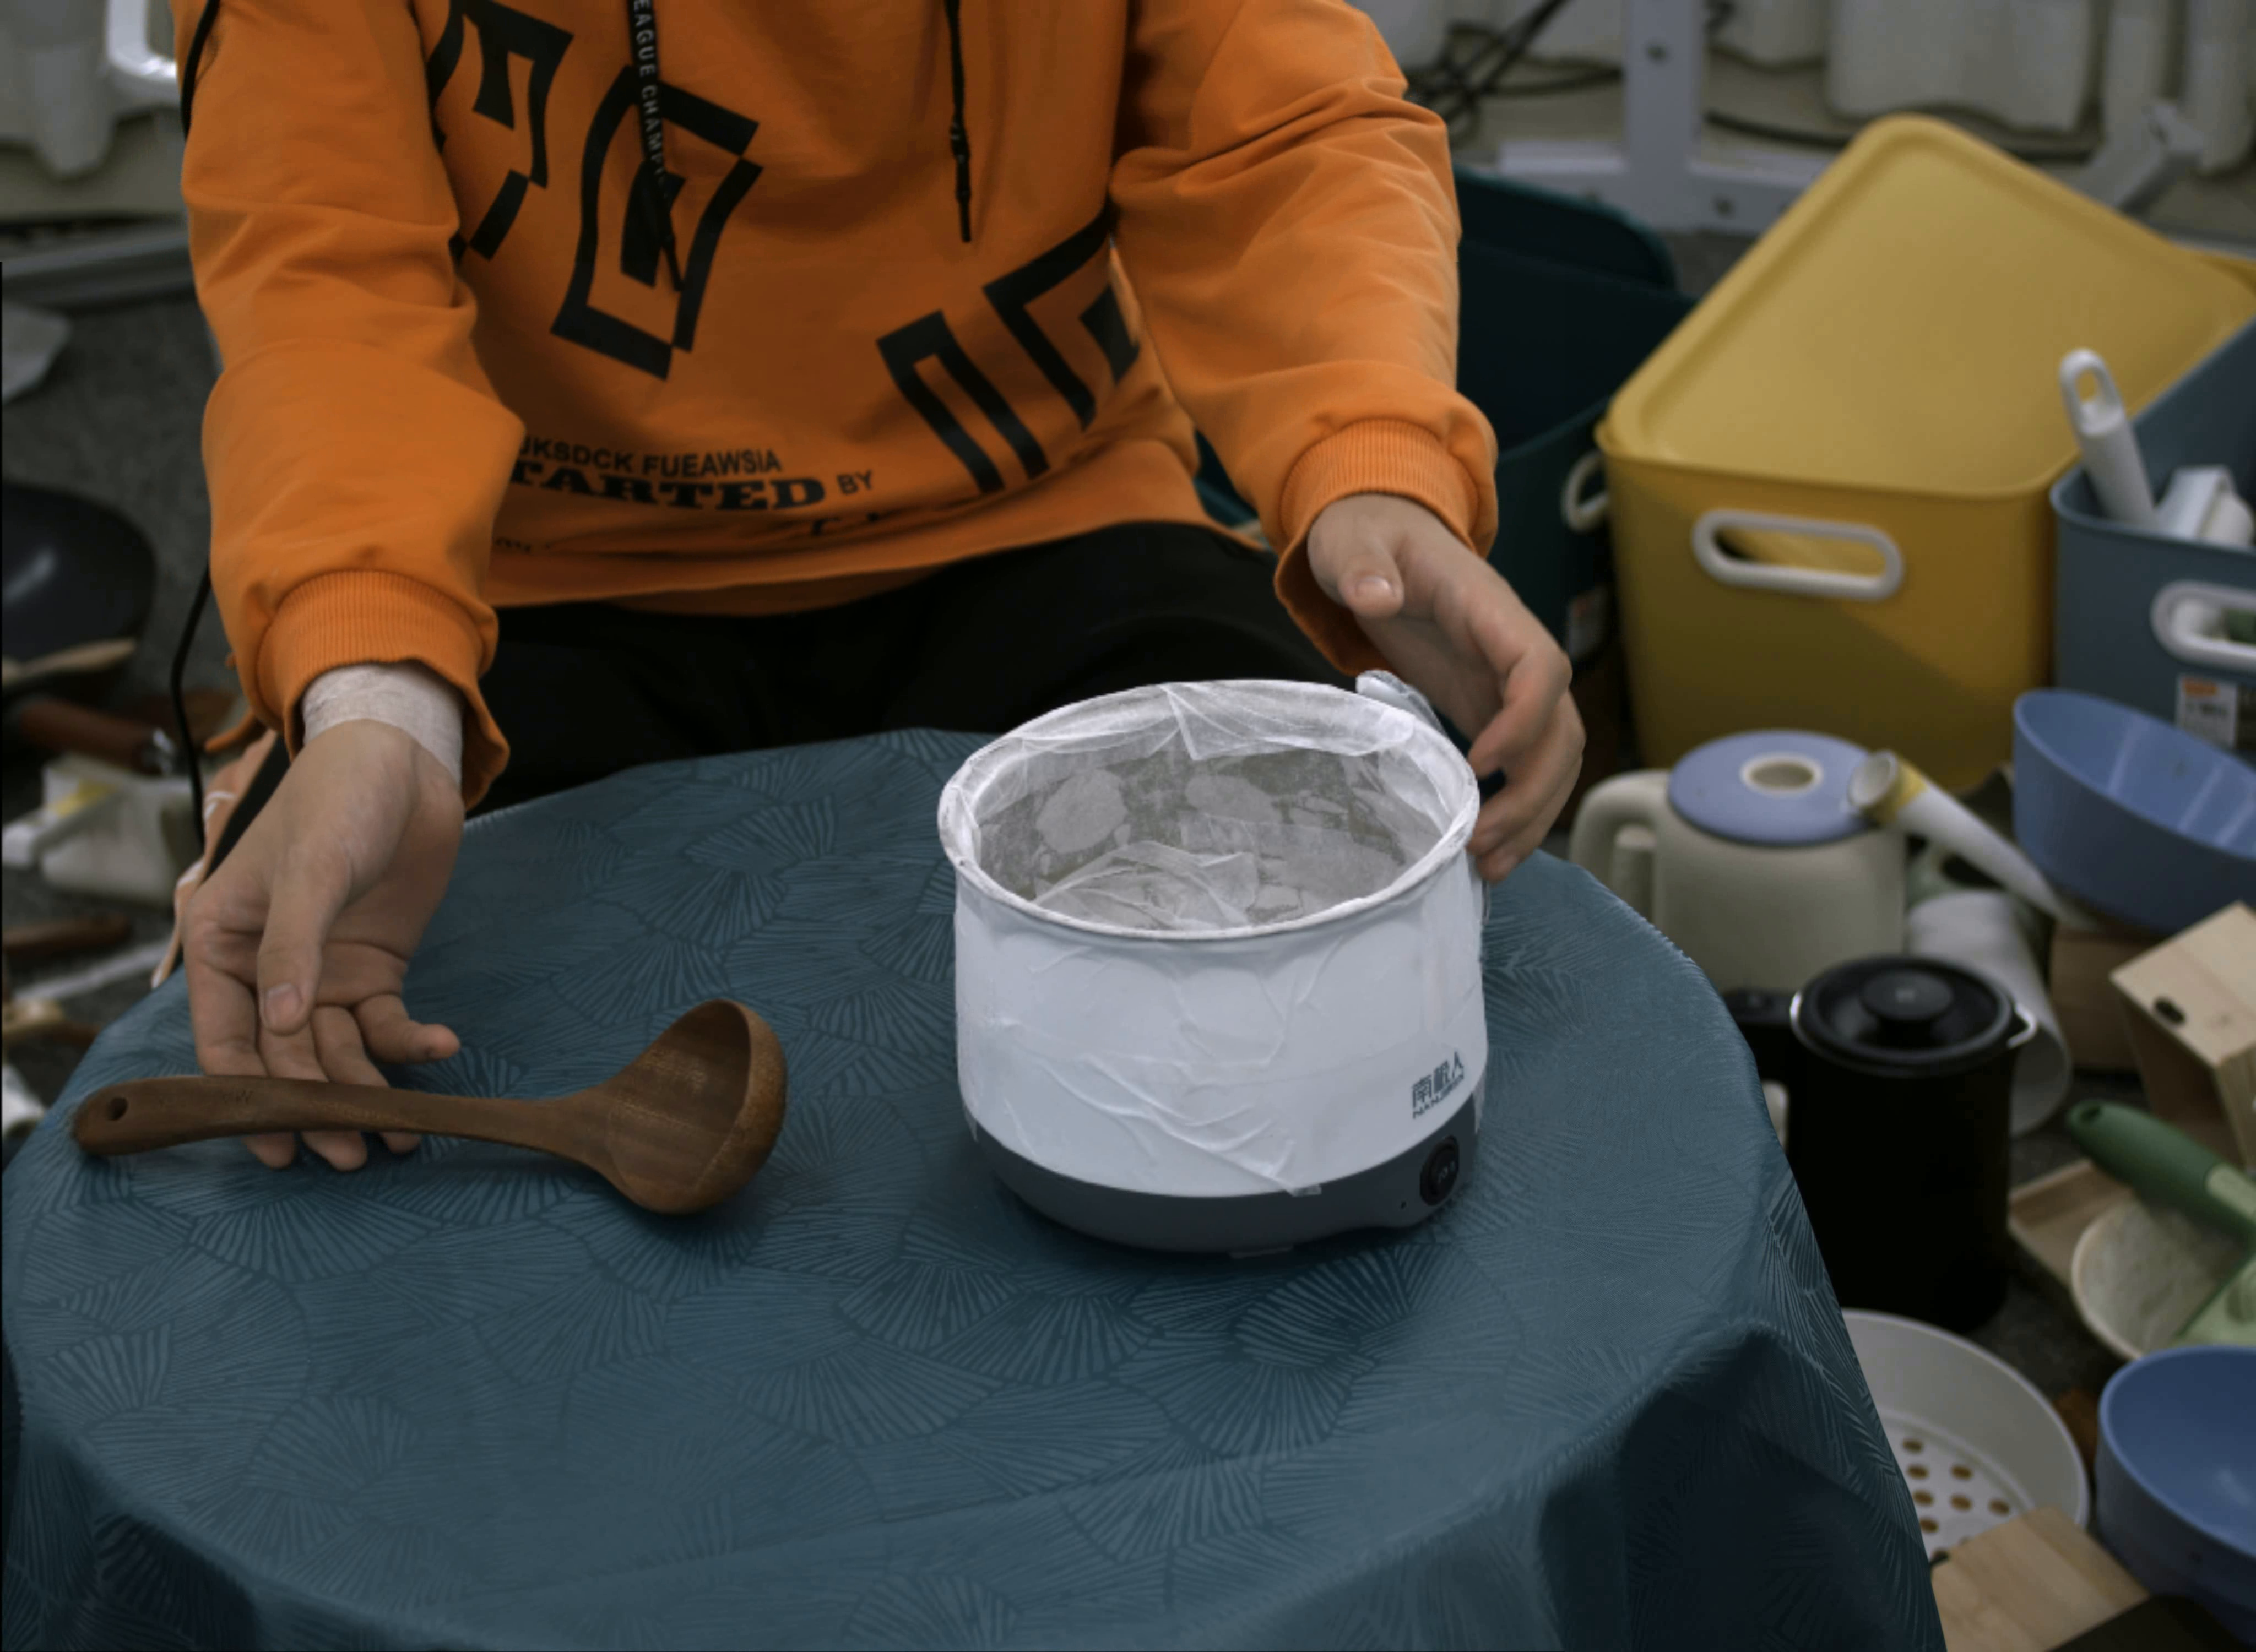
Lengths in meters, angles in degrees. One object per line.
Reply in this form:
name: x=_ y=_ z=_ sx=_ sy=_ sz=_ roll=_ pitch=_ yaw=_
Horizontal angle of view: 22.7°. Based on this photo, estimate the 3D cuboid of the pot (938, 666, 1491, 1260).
pot: x=0.045 y=0.036 z=1.874 sx=0.178 sy=0.135 sz=0.237 roll=16 pitch=33 yaw=31

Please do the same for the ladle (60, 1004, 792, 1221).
ladle: x=-0.238 y=0.093 z=1.876 sx=0.258 sy=0.064 sz=0.078 roll=2 pitch=53 yaw=8
